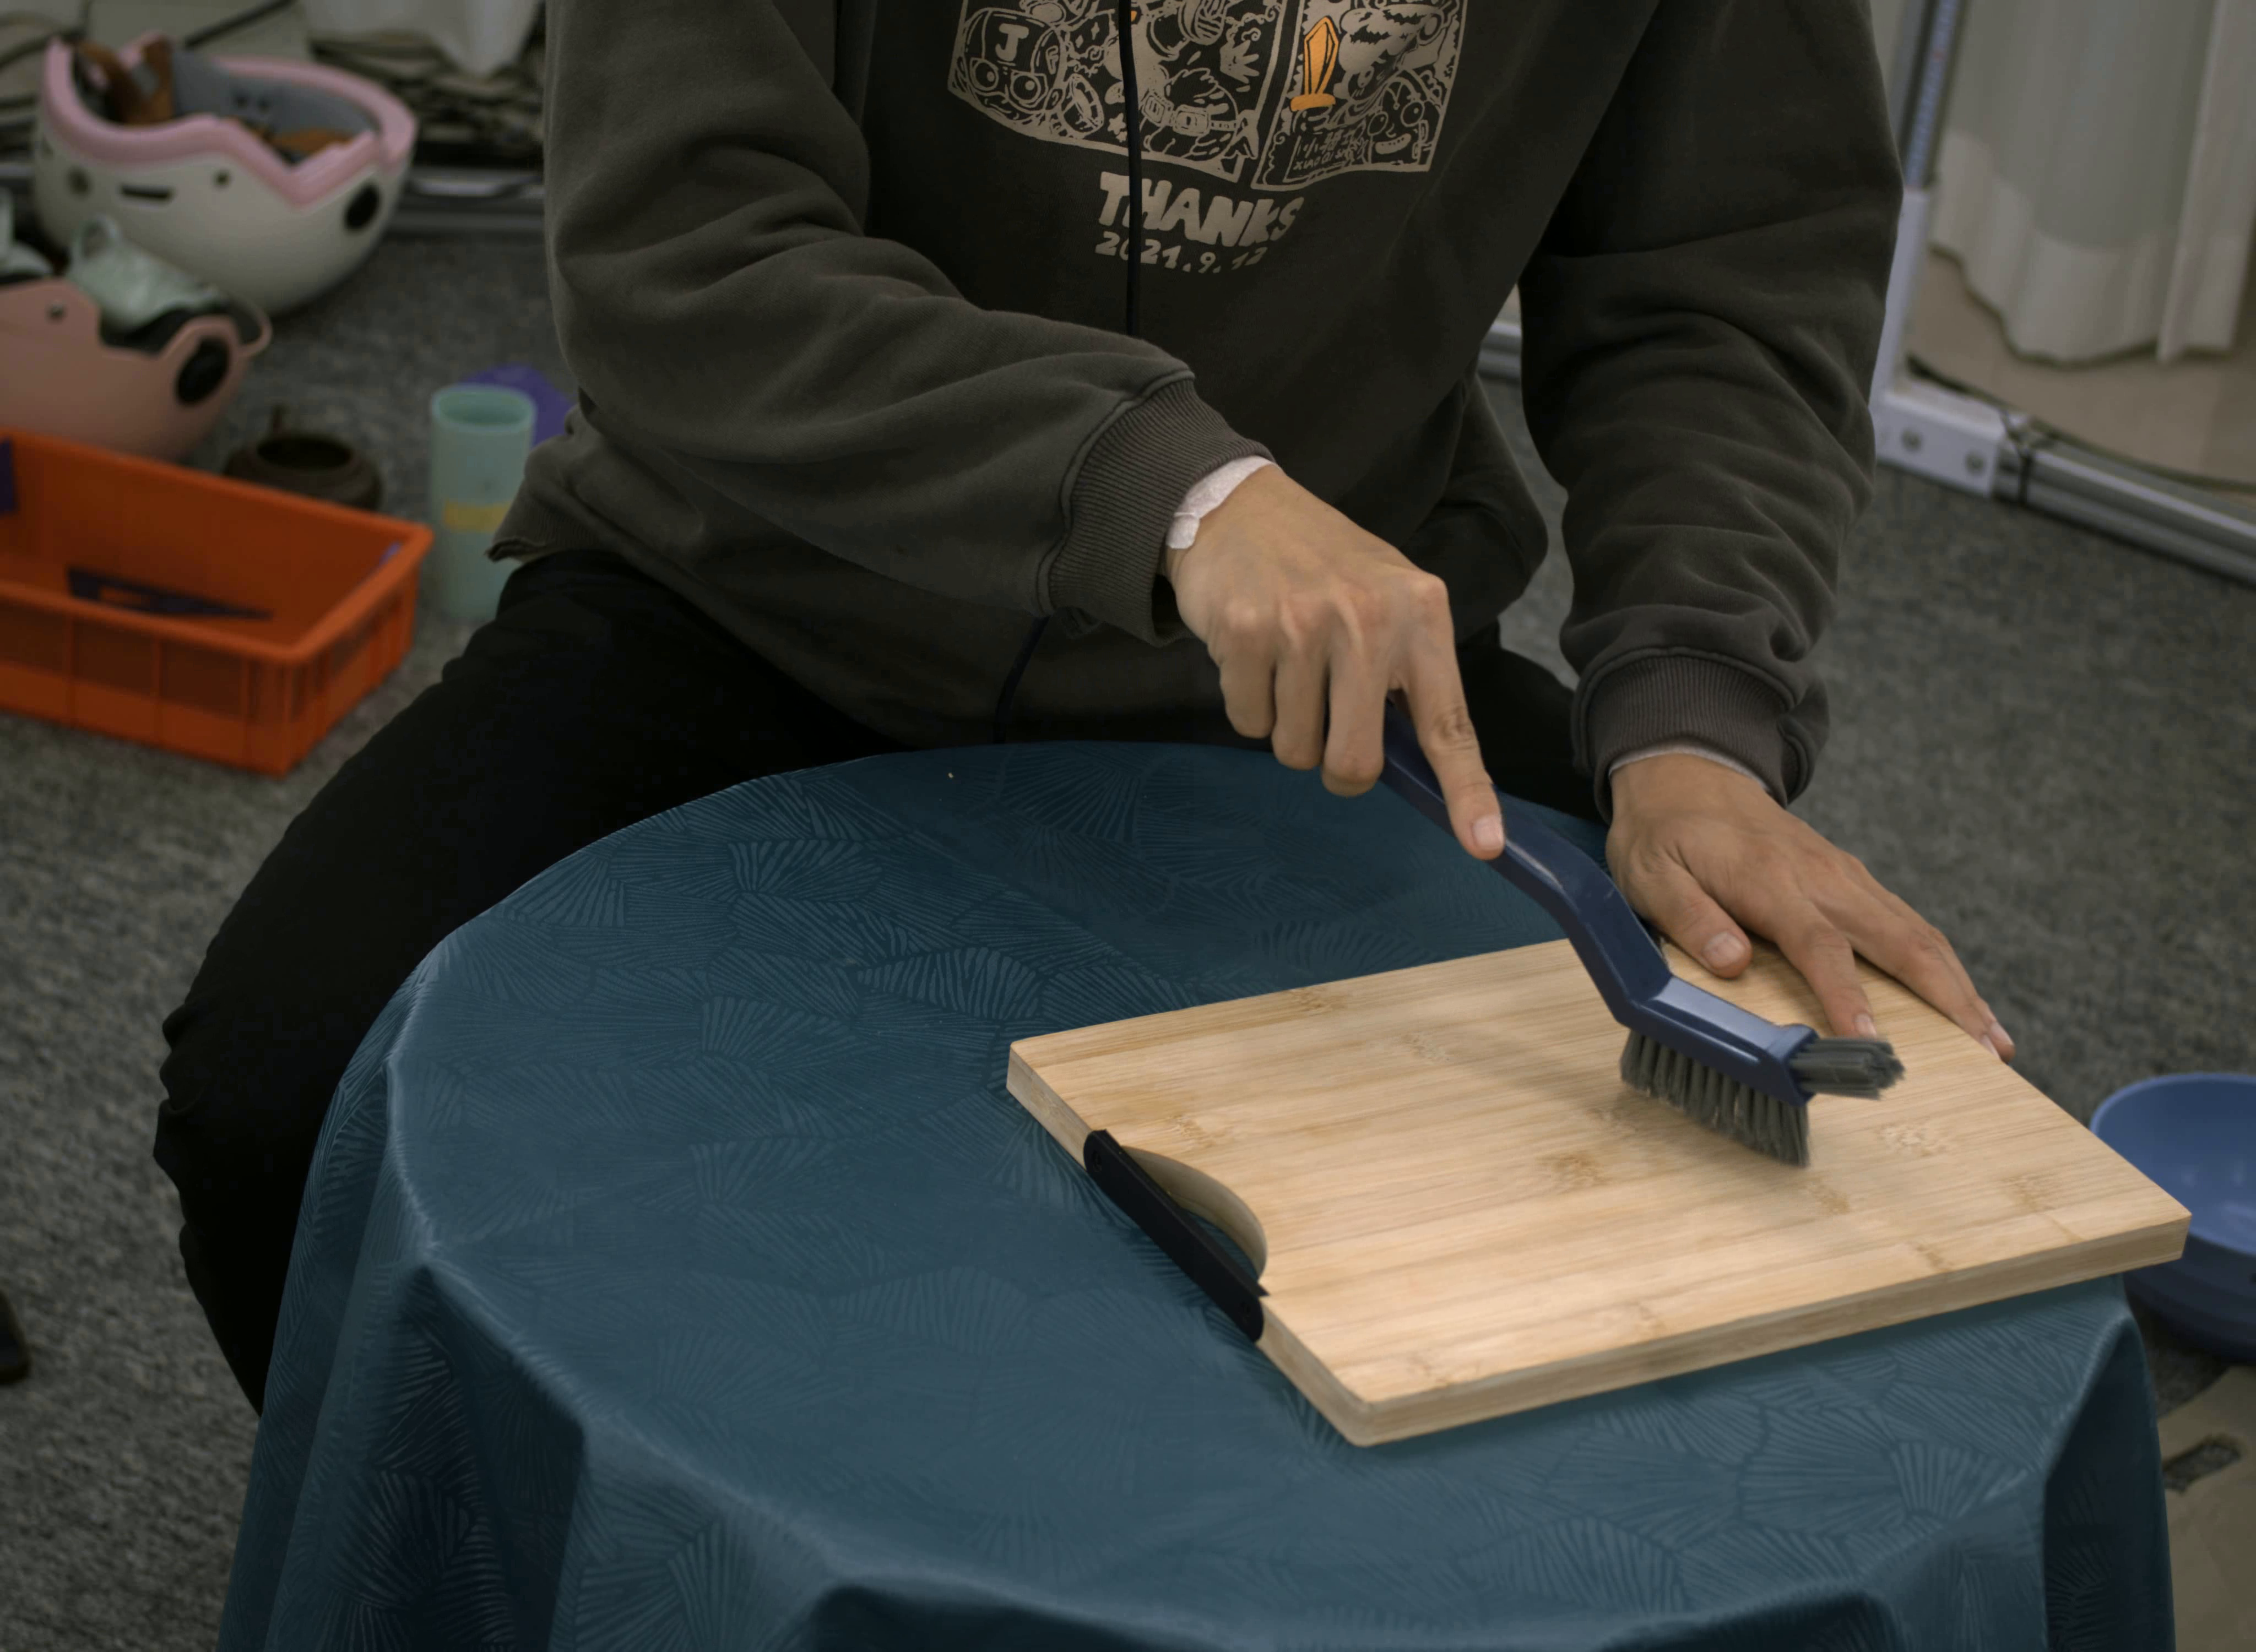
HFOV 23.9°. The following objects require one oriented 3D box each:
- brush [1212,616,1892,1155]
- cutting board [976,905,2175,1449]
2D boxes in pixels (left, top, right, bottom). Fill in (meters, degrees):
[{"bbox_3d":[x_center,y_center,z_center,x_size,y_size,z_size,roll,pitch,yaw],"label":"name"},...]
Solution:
[{"bbox_3d":[0.144,0.009,1.844,0.274,0.095,0.033,44,51,12],"label":"brush"},{"bbox_3d":[0.156,0.114,1.840,0.346,0.023,0.253,-9,30,-29],"label":"cutting board"}]
